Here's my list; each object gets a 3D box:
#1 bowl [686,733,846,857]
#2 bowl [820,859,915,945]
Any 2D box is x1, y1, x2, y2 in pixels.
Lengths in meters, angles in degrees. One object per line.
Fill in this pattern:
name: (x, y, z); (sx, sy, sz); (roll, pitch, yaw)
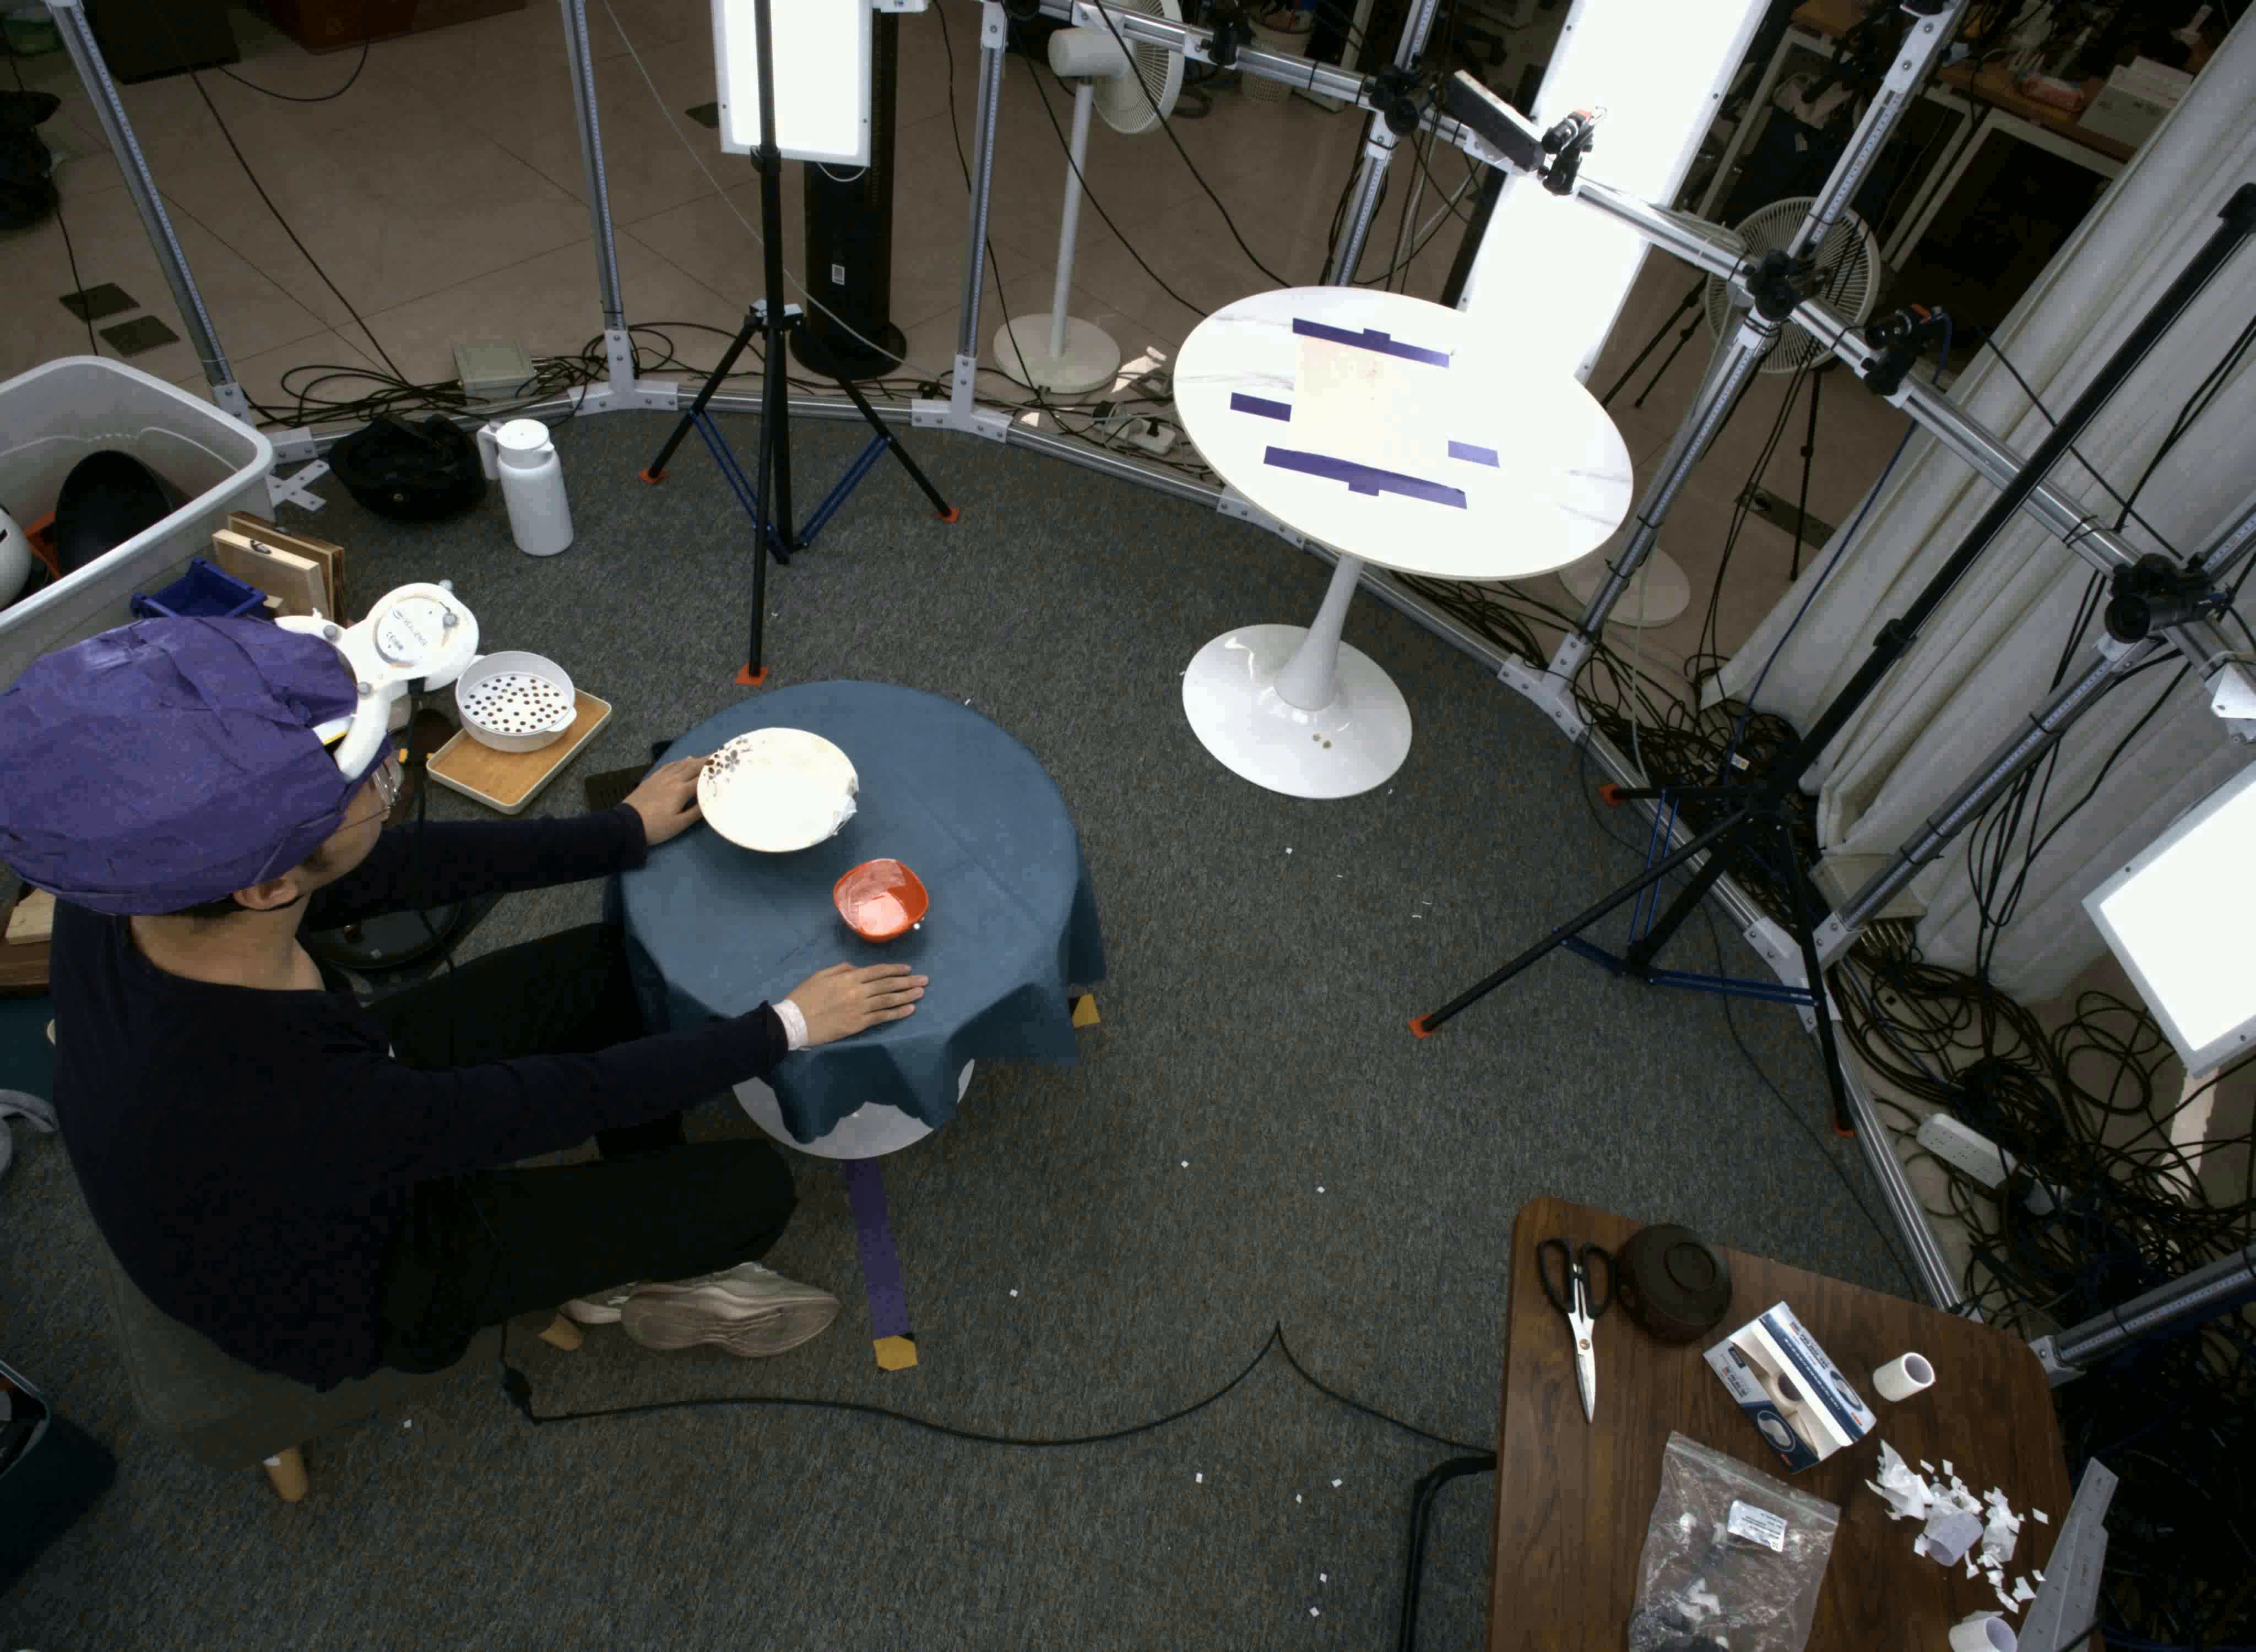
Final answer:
bowl: (-0.469, -0.022, 1.693); (0.203, 0.080, 0.200); (5, 53, -5)
bowl: (-0.330, 0.103, 1.649); (0.119, 0.052, 0.117); (9, 53, -10)
